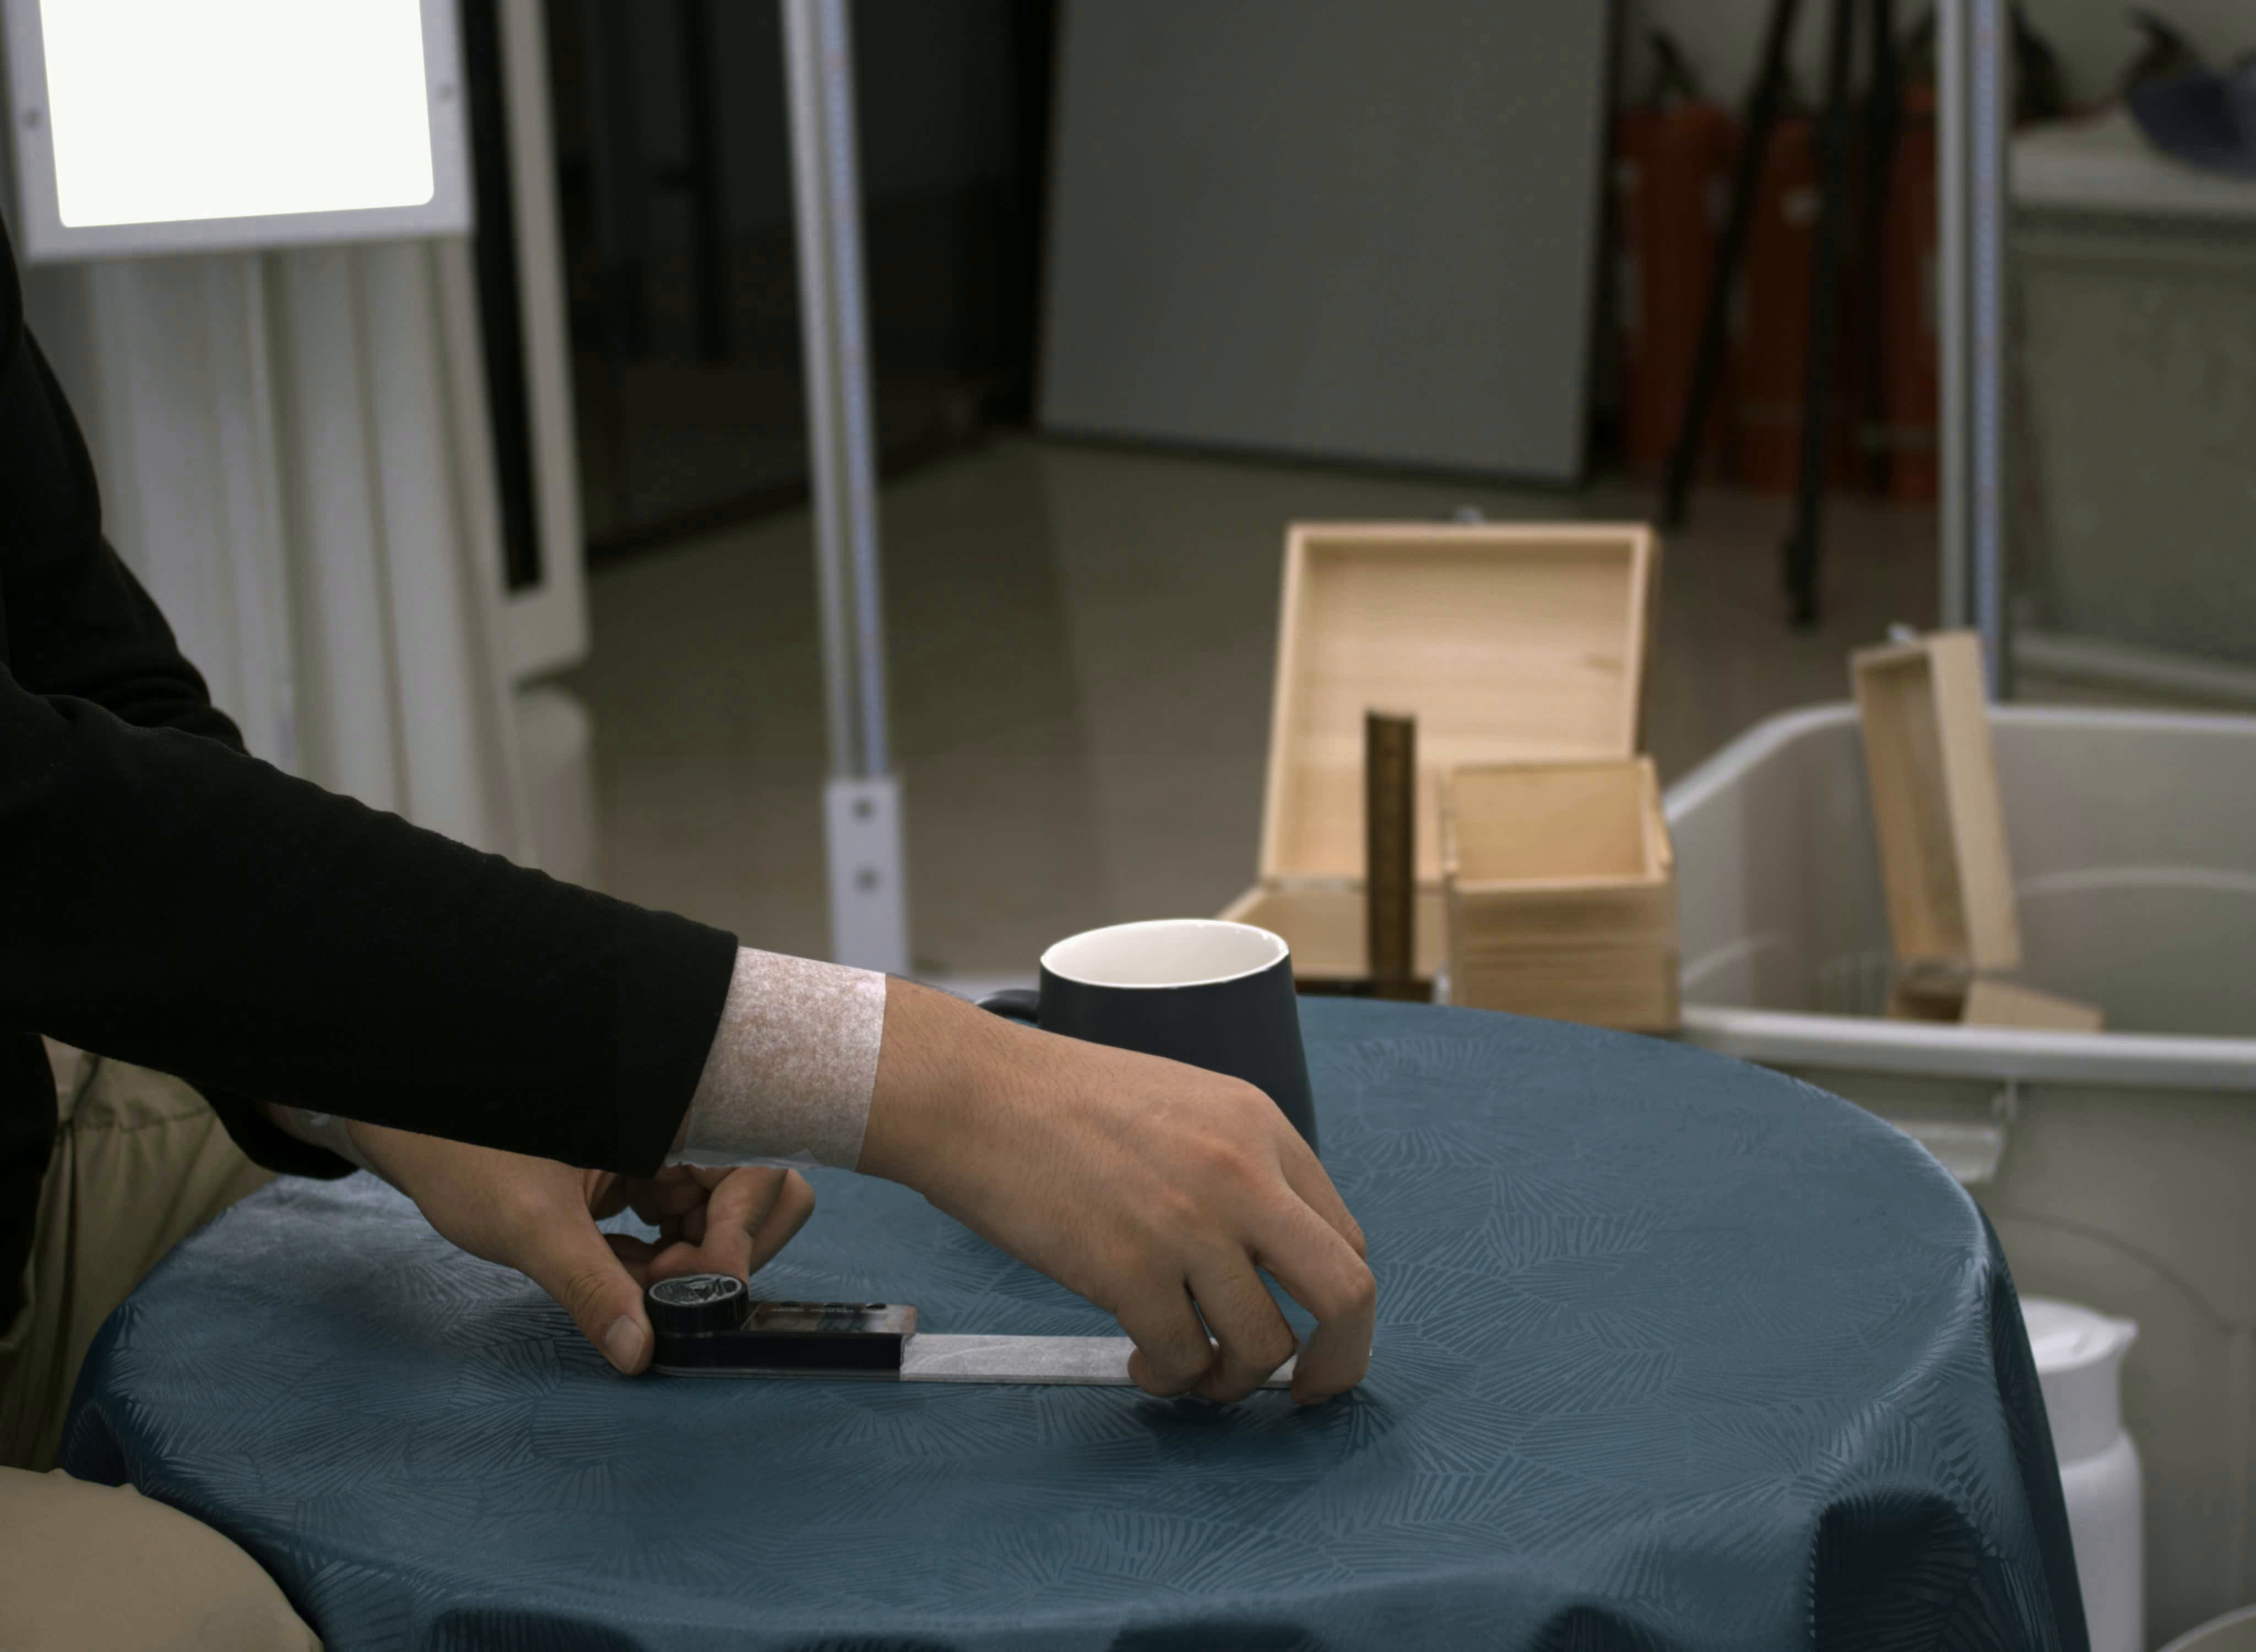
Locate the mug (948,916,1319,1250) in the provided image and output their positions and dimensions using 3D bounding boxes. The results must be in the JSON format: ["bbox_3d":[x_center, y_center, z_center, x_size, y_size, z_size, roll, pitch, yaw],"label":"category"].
[{"bbox_3d":[0.000,0.081,1.734,0.123,0.091,0.092,2,14,19],"label":"mug"}]

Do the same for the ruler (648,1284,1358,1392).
[{"bbox_3d":[-0.040,0.151,1.612,0.217,0.024,0.038,-2,16,14],"label":"ruler"}]
